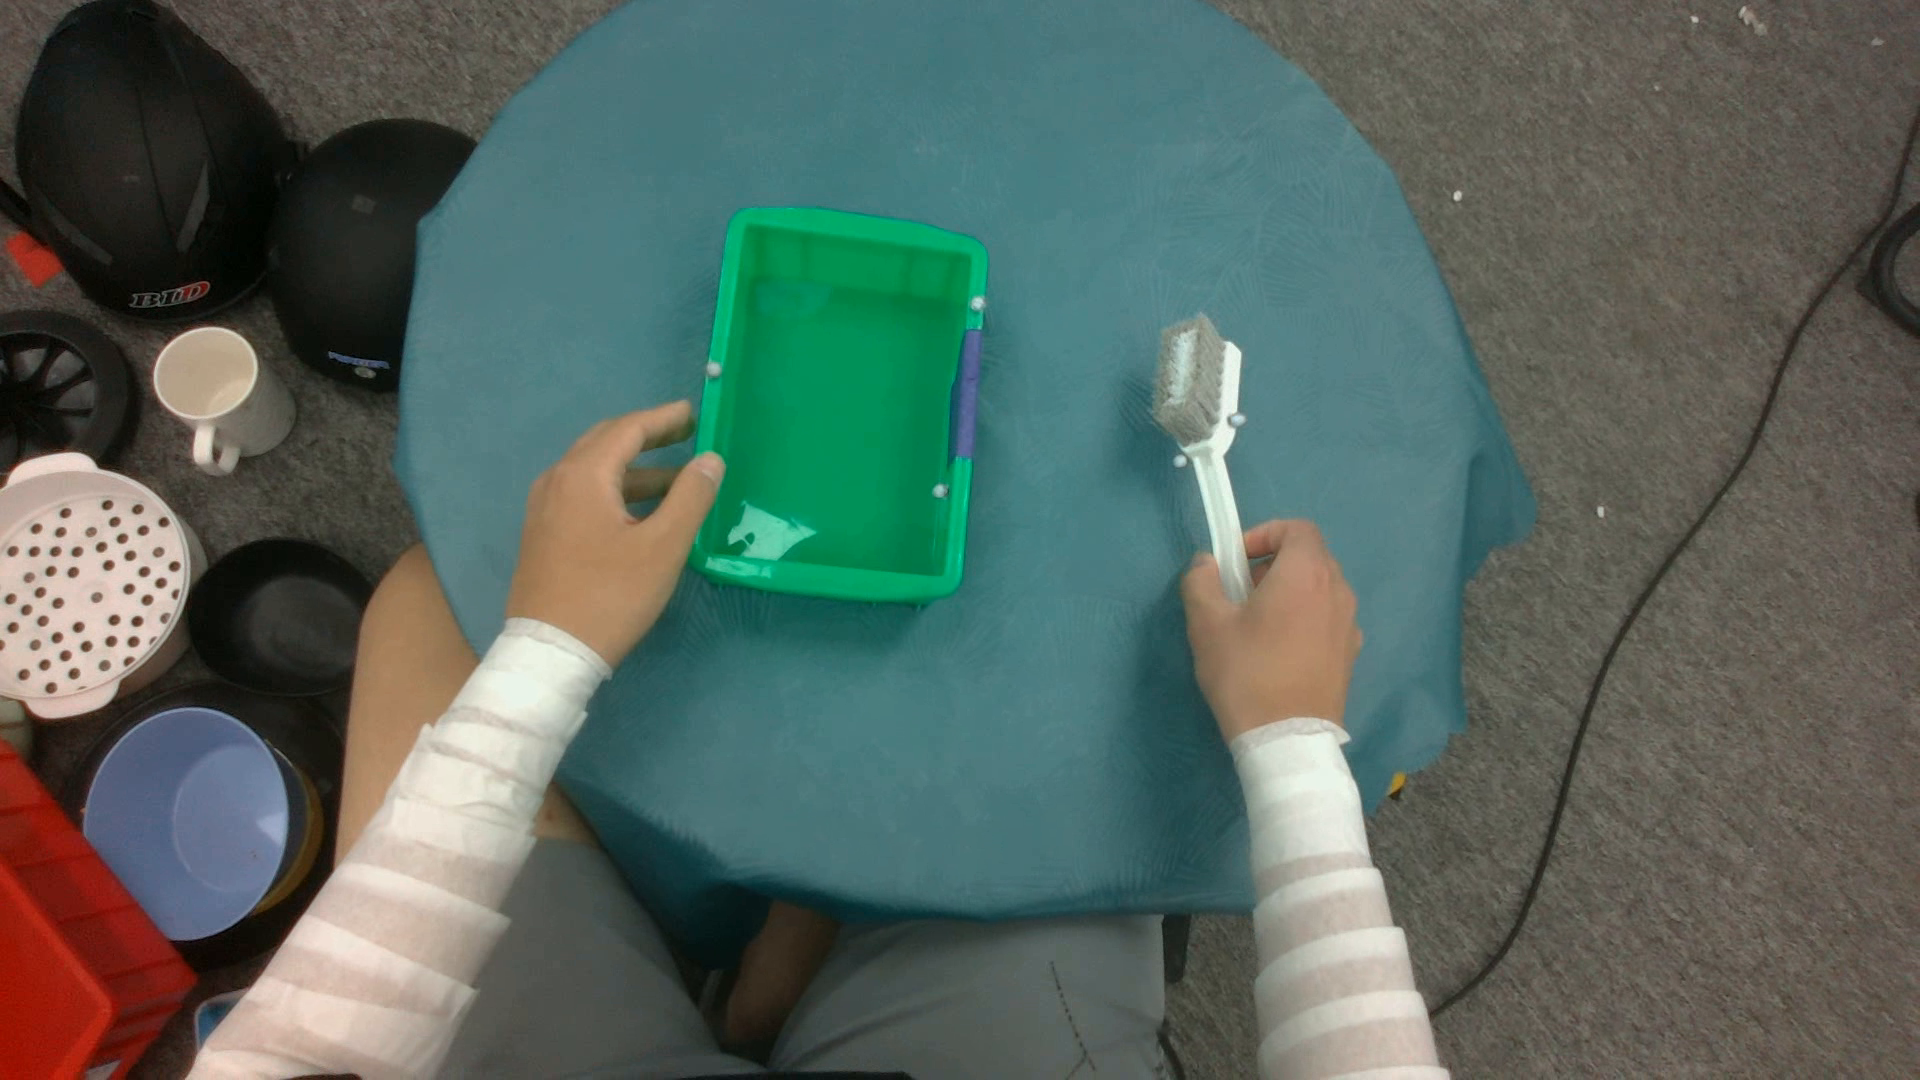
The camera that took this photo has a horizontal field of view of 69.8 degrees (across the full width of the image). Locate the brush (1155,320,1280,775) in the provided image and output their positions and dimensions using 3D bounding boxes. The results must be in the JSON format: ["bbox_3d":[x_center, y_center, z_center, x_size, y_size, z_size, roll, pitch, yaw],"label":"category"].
[{"bbox_3d":[0.135,0.002,0.730,0.050,0.034,0.244,6,74,-35],"label":"brush"}]

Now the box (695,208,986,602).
[{"bbox_3d":[-0.062,-0.068,0.738,0.139,0.065,0.211,5,73,-7],"label":"box"}]
